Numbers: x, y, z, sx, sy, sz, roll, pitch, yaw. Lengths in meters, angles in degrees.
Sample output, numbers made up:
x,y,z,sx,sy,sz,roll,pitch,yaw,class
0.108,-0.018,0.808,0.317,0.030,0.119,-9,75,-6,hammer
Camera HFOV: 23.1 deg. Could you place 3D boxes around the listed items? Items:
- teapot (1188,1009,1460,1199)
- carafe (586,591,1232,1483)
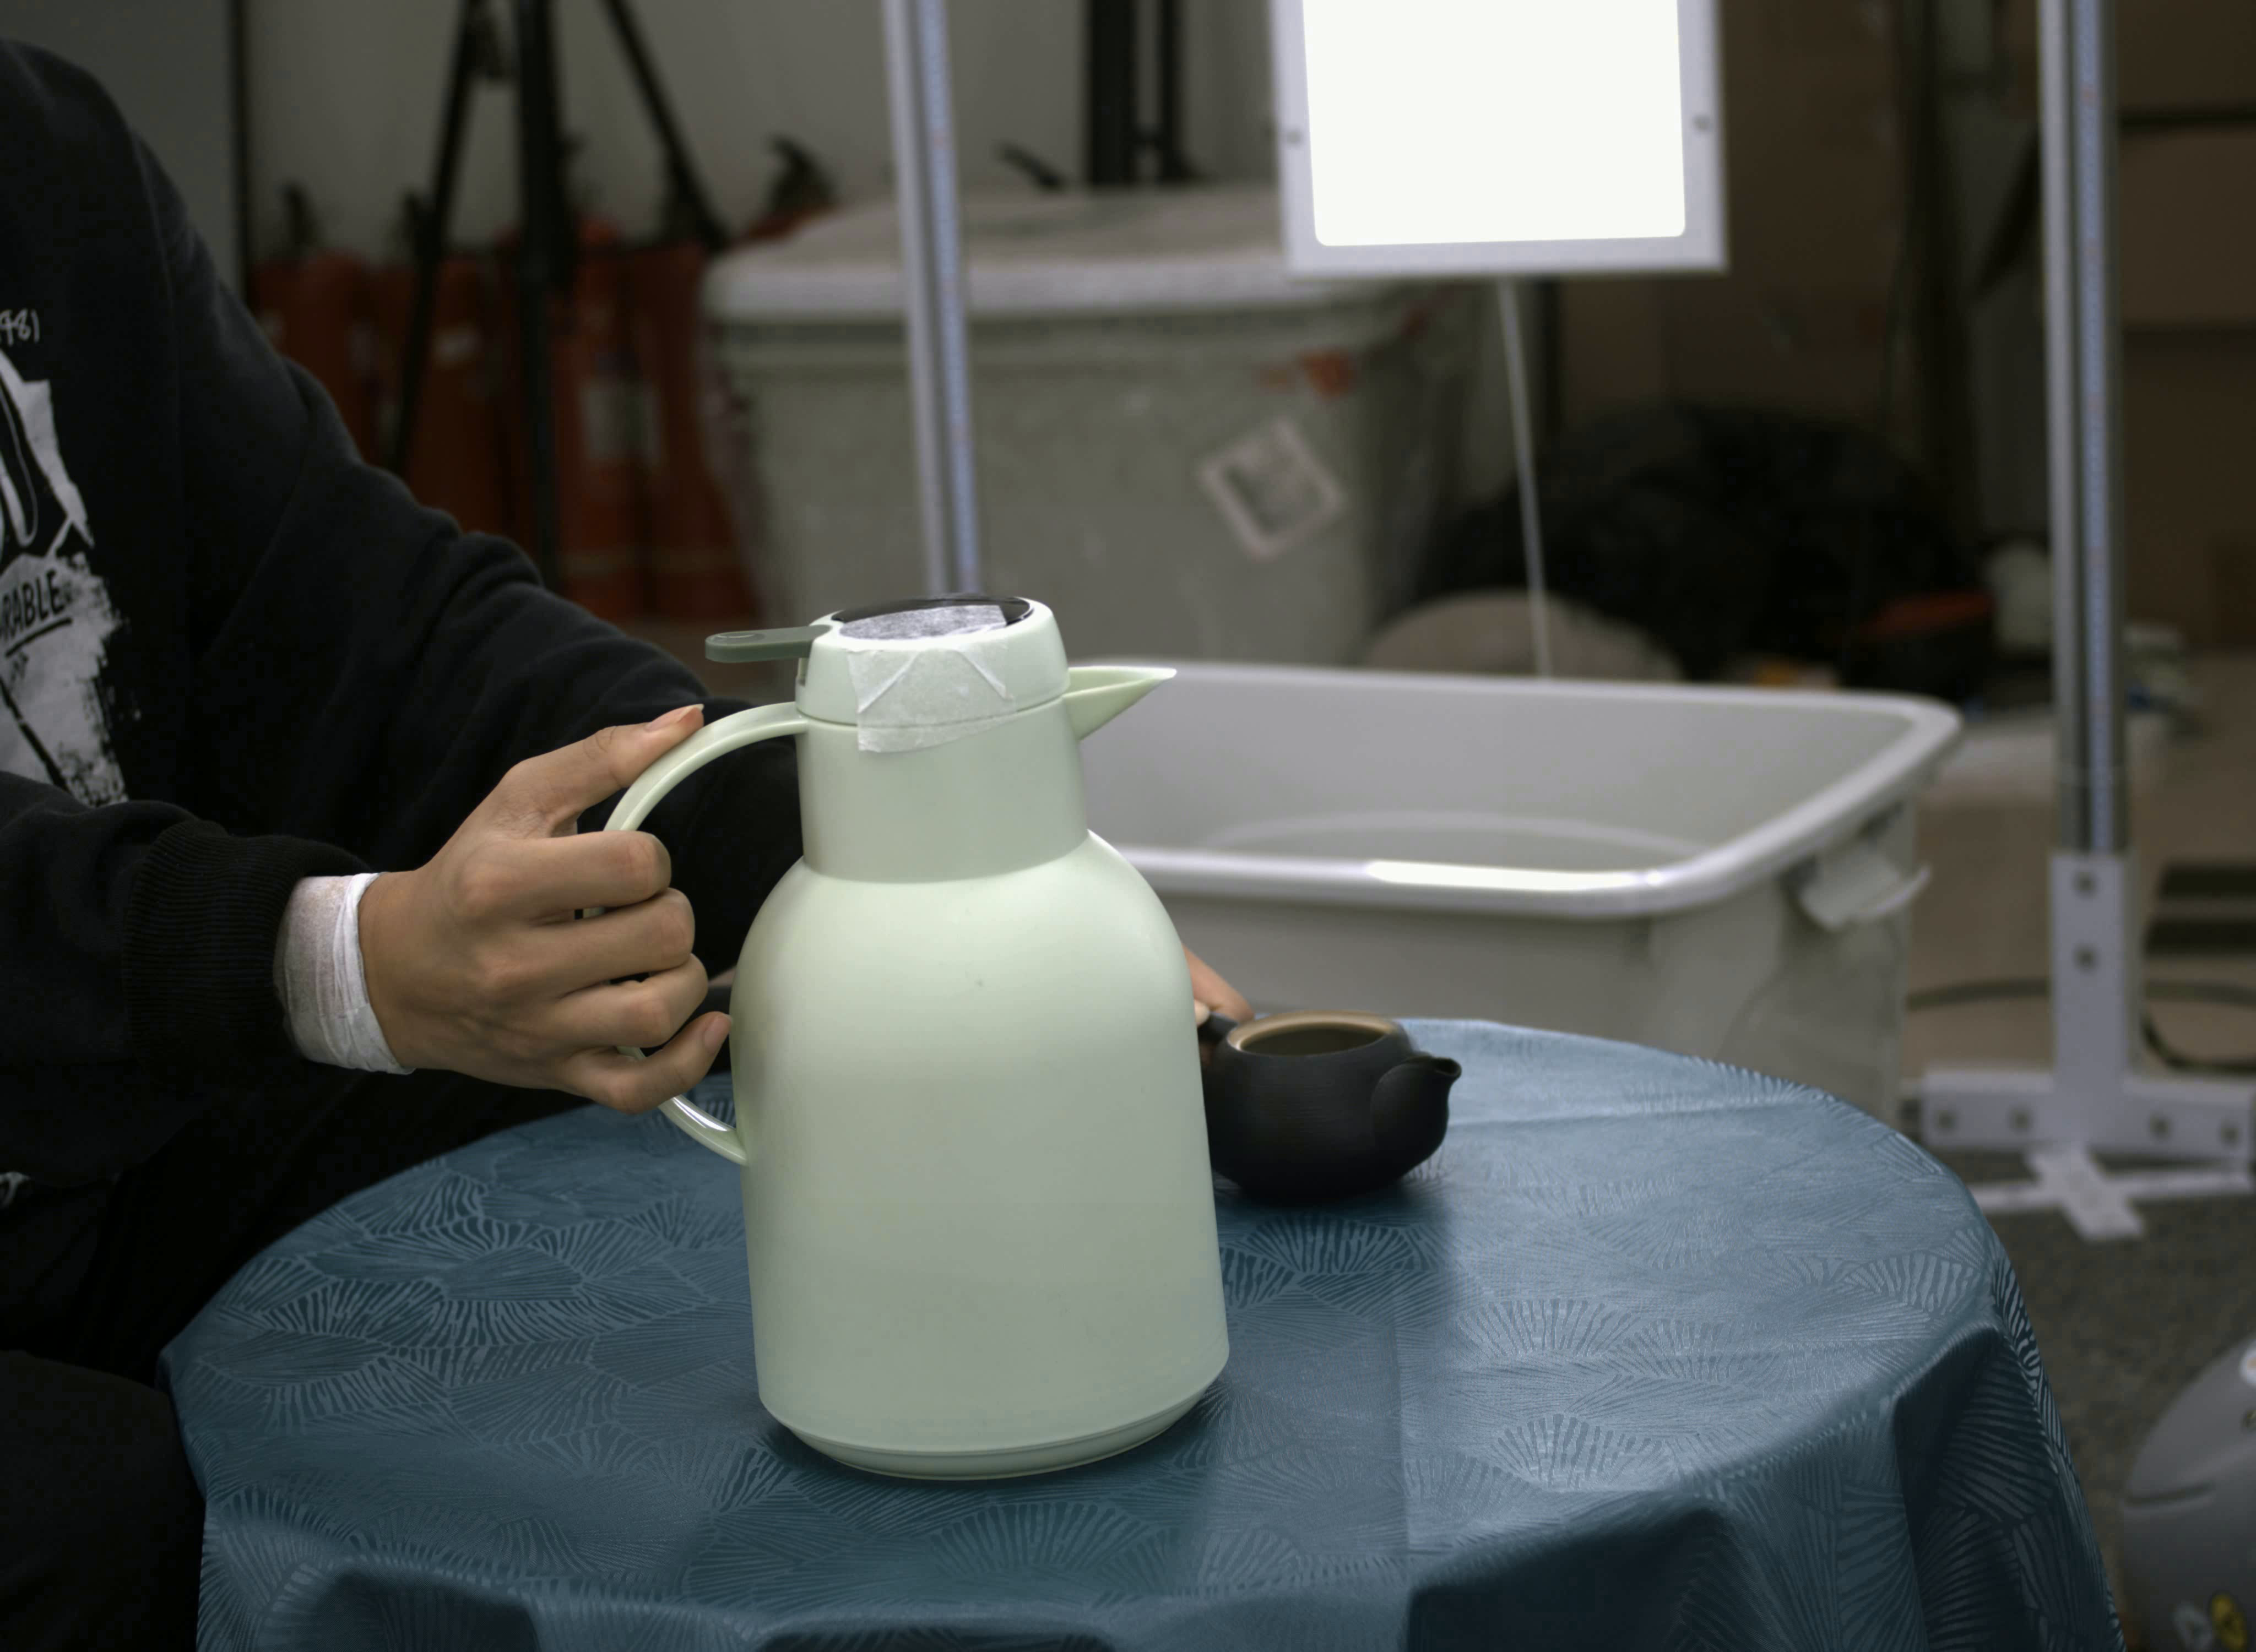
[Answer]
x,y,z,sx,sy,sz,roll,pitch,yaw,class
0.064,0.095,1.888,0.088,0.053,0.136,-16,18,-42,teapot
-0.064,0.061,1.664,0.185,0.257,0.145,-10,16,-6,carafe
